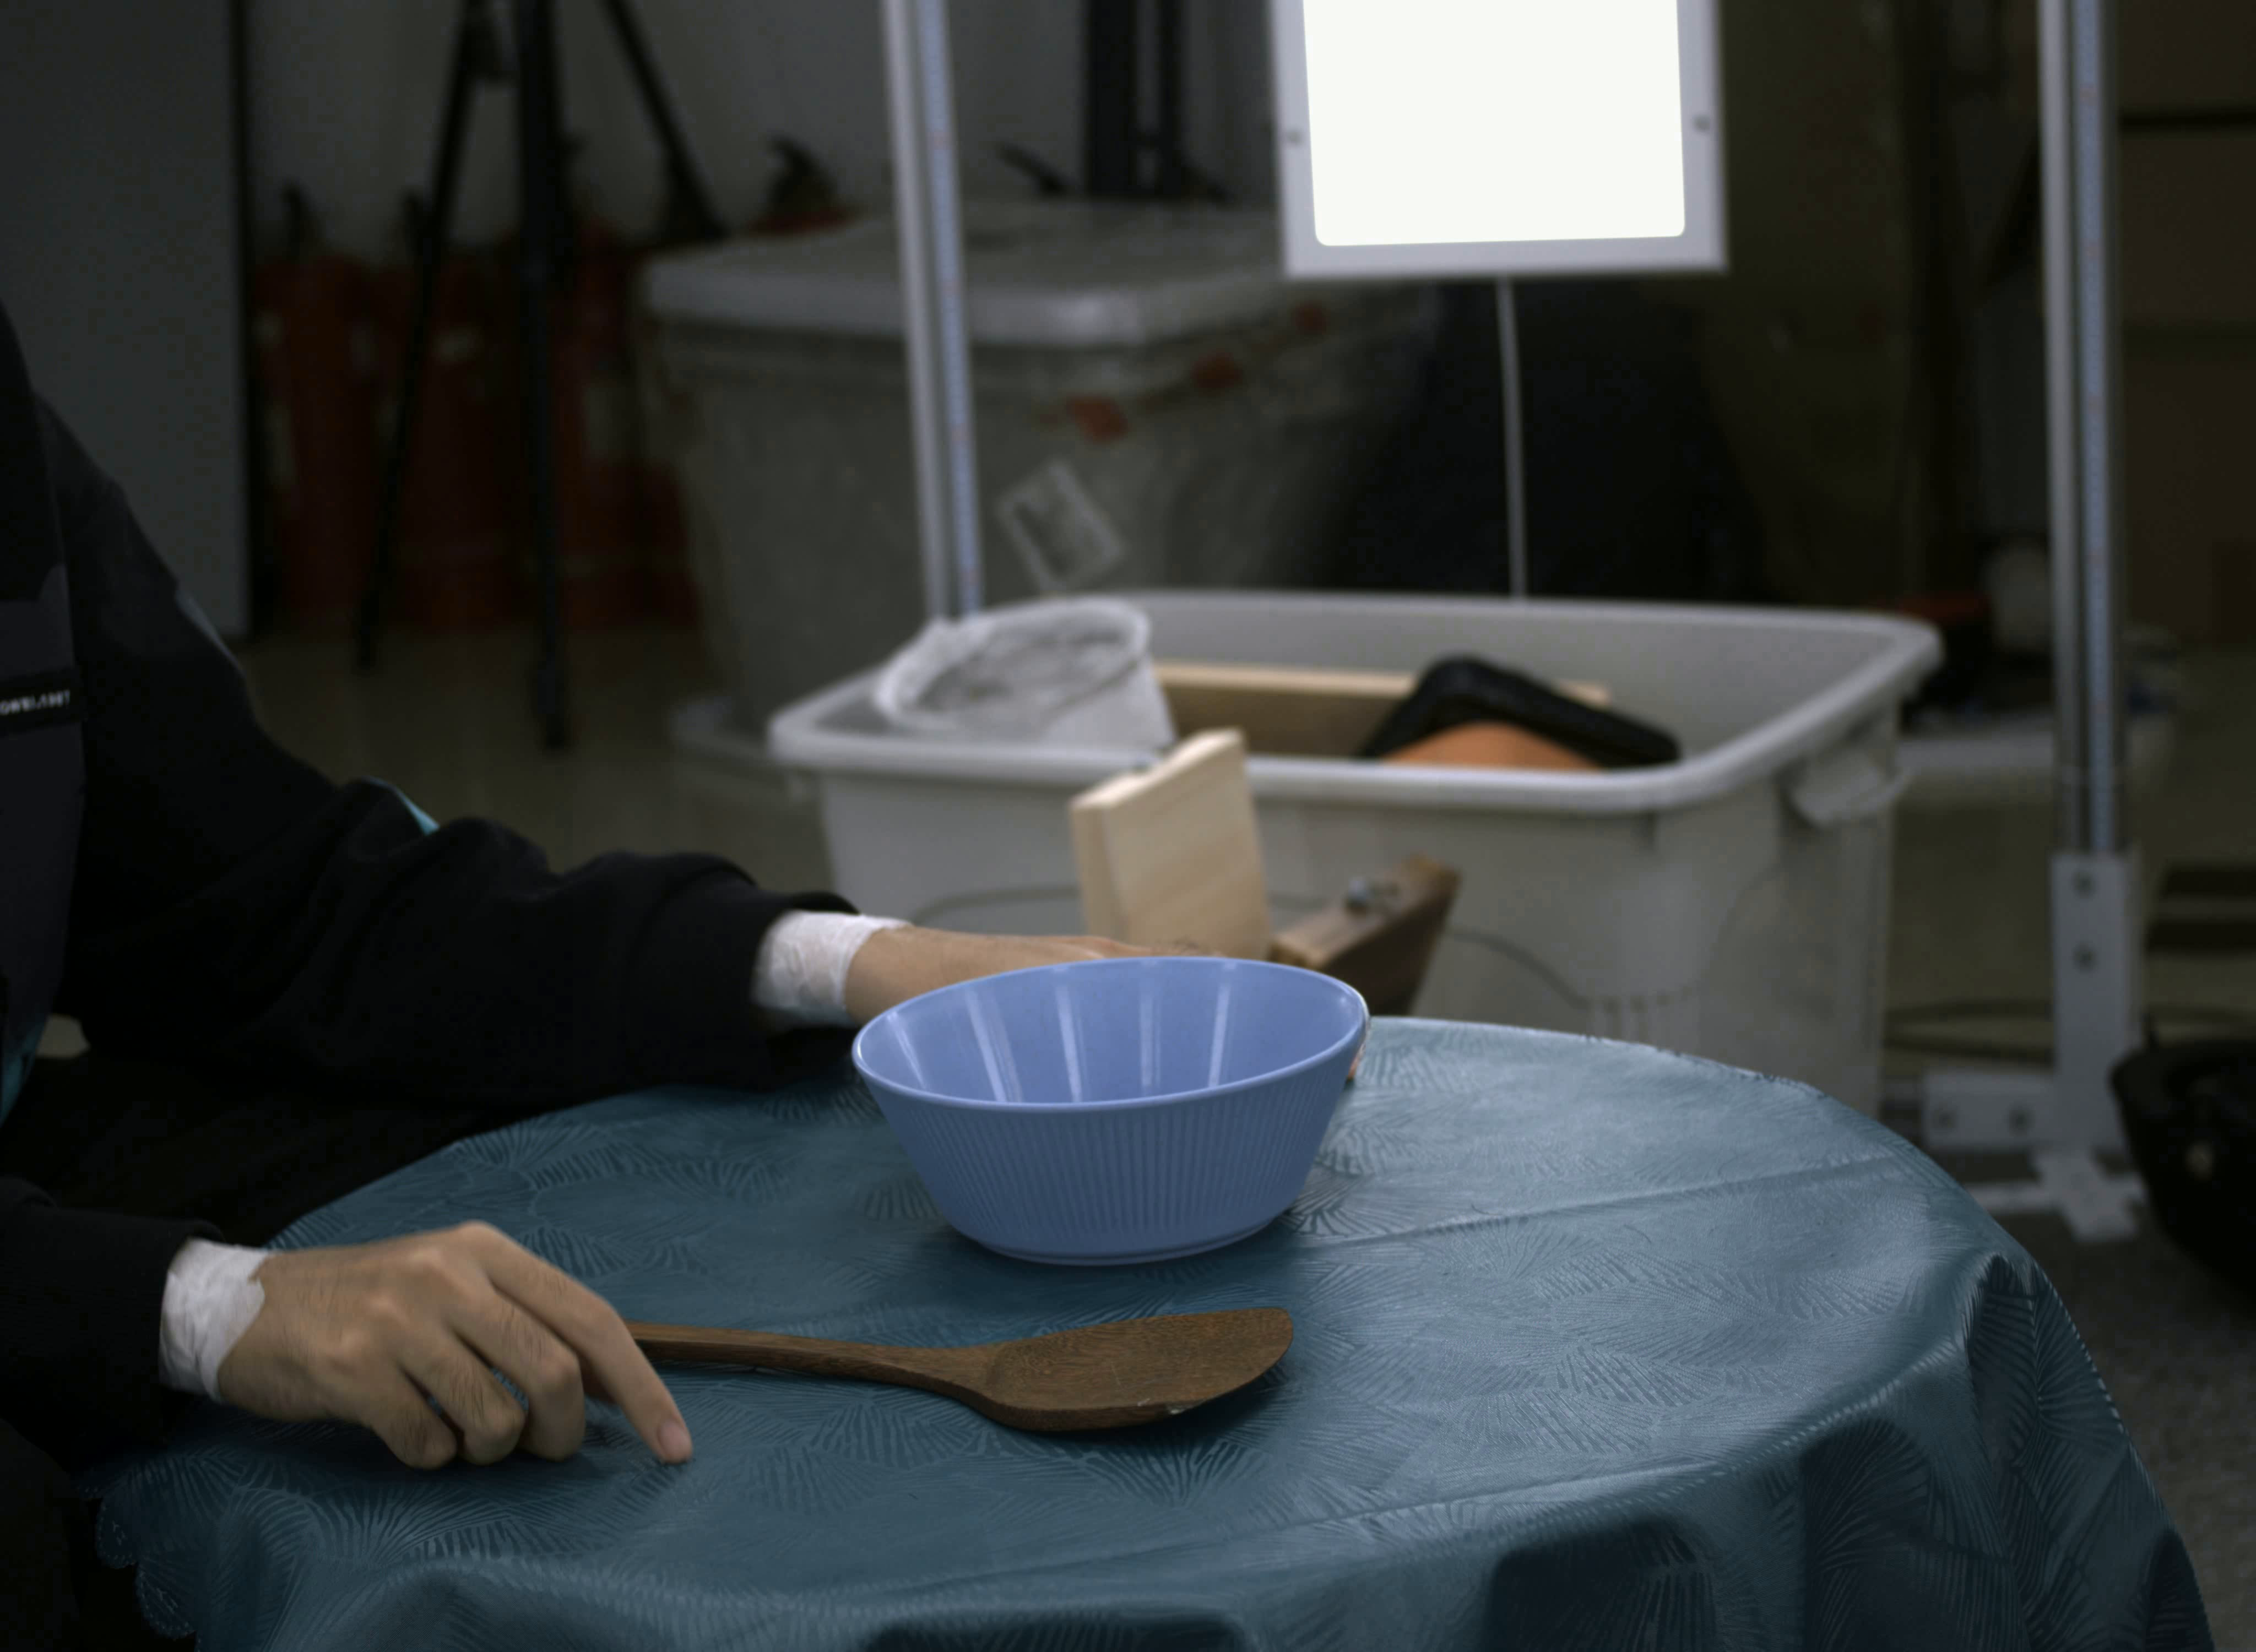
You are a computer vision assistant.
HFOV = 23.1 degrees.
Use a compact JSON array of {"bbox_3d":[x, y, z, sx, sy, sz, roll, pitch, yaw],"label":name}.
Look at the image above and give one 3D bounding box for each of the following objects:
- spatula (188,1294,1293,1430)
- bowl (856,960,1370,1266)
[{"bbox_3d":[-0.133,0.165,1.757,0.392,0.016,0.094,1,14,24],"label":"spatula"},{"bbox_3d":[-0.002,0.100,1.863,0.175,0.070,0.176,-6,13,0],"label":"bowl"}]
